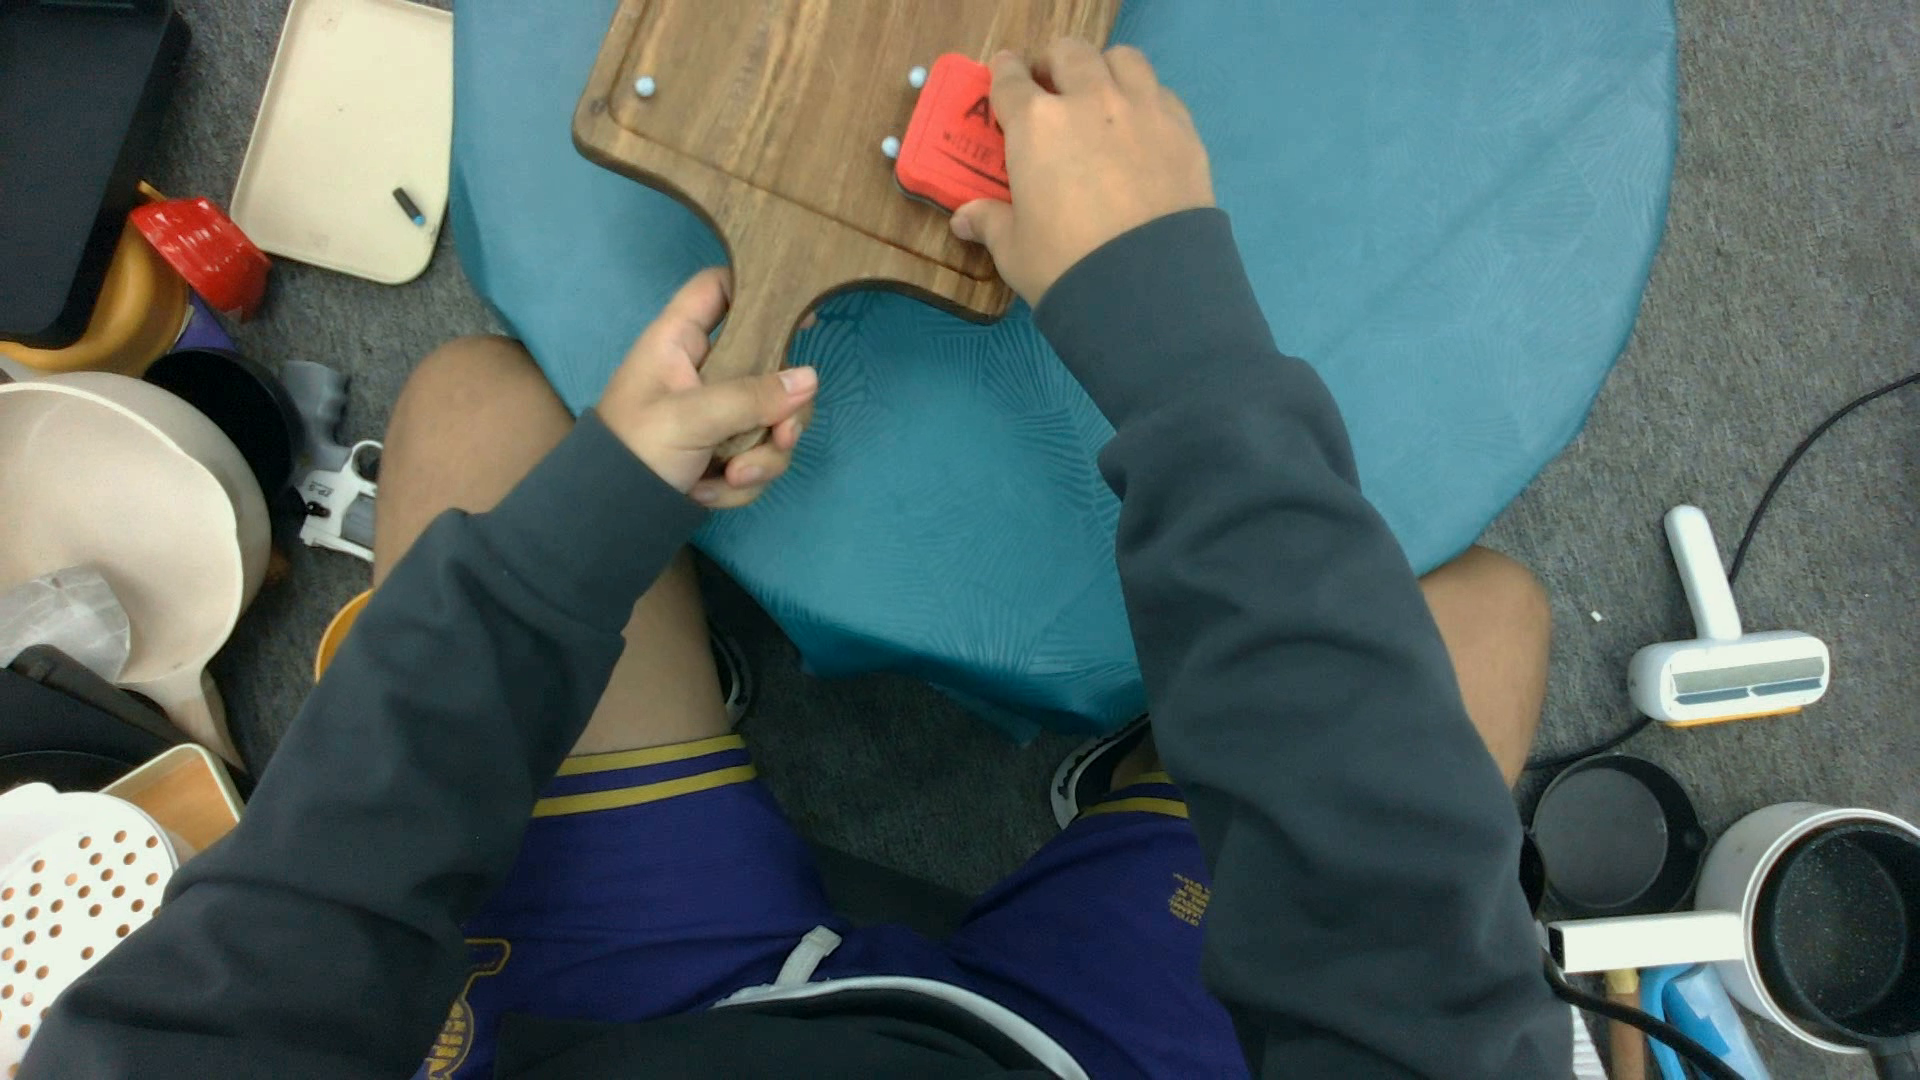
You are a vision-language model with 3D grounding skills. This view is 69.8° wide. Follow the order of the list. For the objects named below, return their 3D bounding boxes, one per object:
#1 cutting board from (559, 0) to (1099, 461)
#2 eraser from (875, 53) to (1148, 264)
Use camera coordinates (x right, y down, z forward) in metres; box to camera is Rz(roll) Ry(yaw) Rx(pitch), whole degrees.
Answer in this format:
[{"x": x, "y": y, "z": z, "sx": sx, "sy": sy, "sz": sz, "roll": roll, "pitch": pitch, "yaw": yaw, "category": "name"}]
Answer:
[{"x": -0.053, "y": -0.201, "z": 0.592, "sx": 0.201, "sy": 0.023, "sz": 0.352, "roll": 20, "pitch": 81, "yaw": -11, "category": "cutting board"}, {"x": 0.022, "y": -0.161, "z": 0.583, "sx": 0.108, "sy": 0.023, "sz": 0.059, "roll": 18, "pitch": 81, "yaw": -9, "category": "eraser"}]
